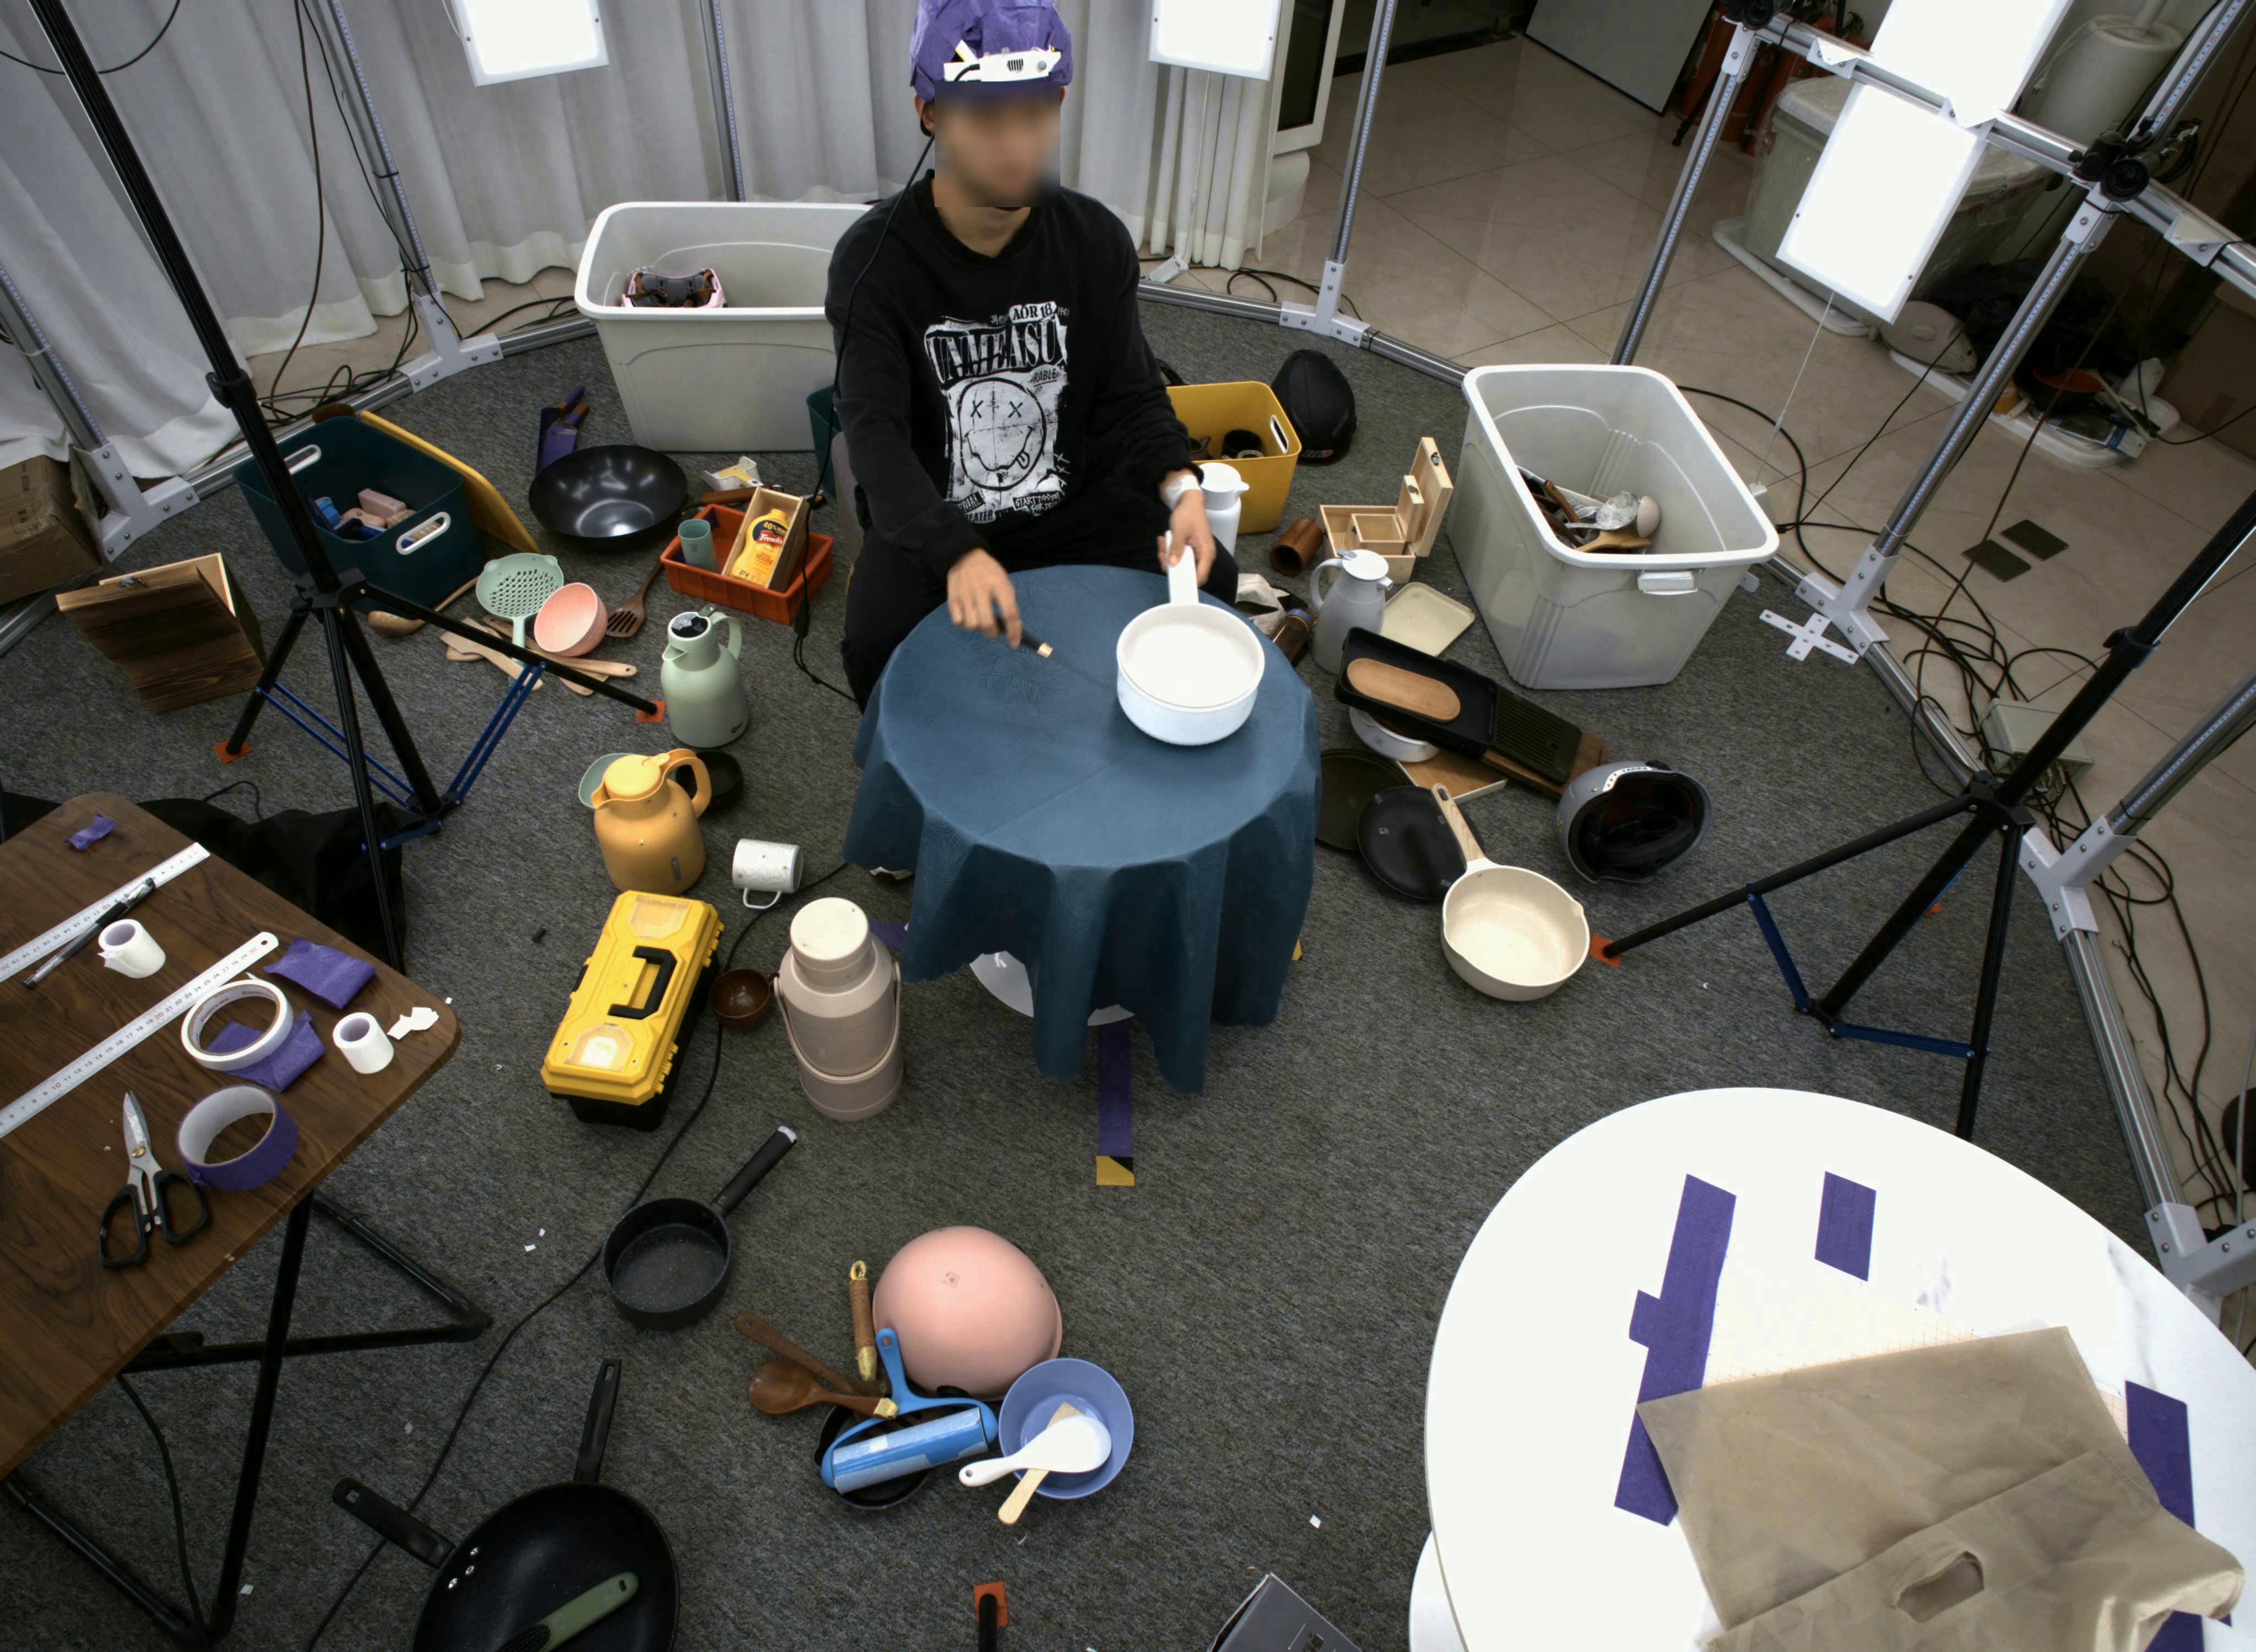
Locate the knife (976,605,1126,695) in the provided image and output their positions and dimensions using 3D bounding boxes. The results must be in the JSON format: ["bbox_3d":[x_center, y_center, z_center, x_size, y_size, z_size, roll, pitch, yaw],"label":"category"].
[{"bbox_3d":[-0.098,-0.228,1.678,0.224,0.026,0.017,29,83,-10],"label":"knife"}]

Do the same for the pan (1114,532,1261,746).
[{"bbox_3d":[0.077,-0.268,1.836,0.201,0.099,0.363,-2,52,-3],"label":"pan"}]
